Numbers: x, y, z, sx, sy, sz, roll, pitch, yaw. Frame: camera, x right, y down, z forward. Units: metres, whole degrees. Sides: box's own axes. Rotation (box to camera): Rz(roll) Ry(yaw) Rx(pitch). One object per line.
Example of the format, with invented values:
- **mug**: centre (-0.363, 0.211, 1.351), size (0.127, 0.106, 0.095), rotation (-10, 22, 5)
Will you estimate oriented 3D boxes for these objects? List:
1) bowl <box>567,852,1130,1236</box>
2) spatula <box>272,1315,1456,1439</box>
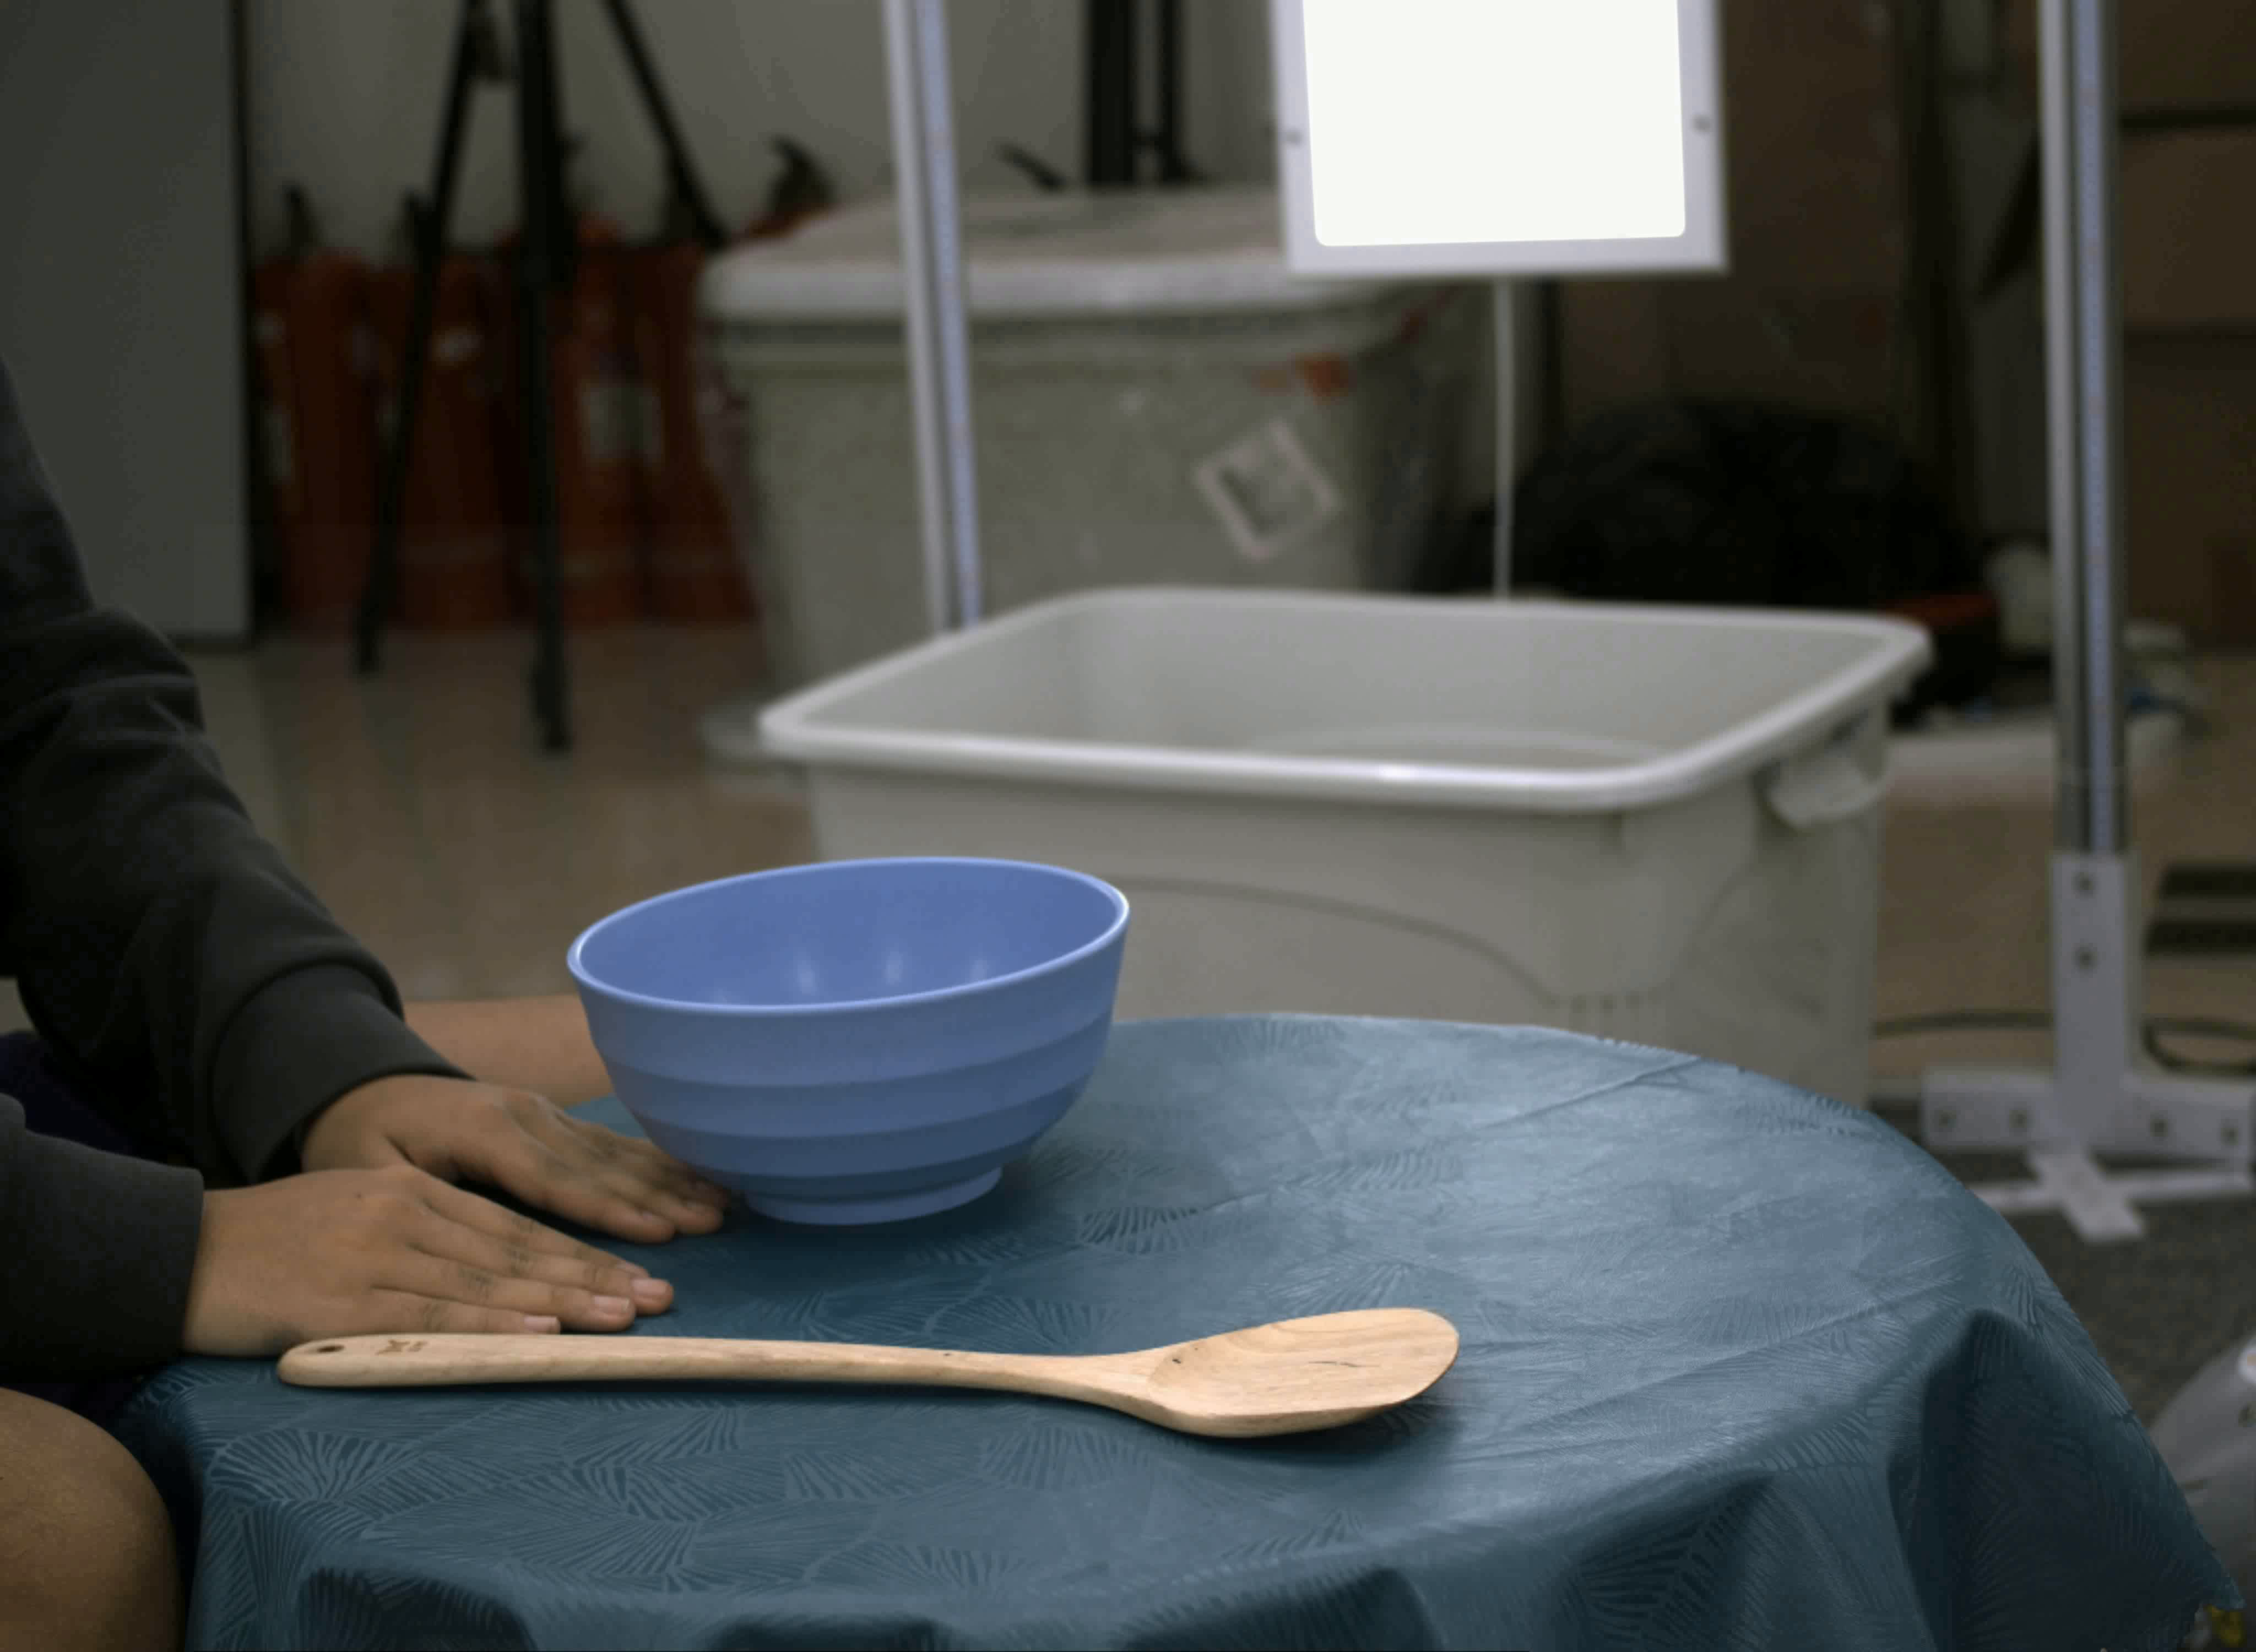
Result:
- **bowl**: centre (-0.094, 0.083, 1.922), size (0.196, 0.096, 0.196), rotation (-5, 16, 0)
- **spatula**: centre (-0.089, 0.169, 1.718), size (0.395, 0.018, 0.094), rotation (0, 13, 19)
